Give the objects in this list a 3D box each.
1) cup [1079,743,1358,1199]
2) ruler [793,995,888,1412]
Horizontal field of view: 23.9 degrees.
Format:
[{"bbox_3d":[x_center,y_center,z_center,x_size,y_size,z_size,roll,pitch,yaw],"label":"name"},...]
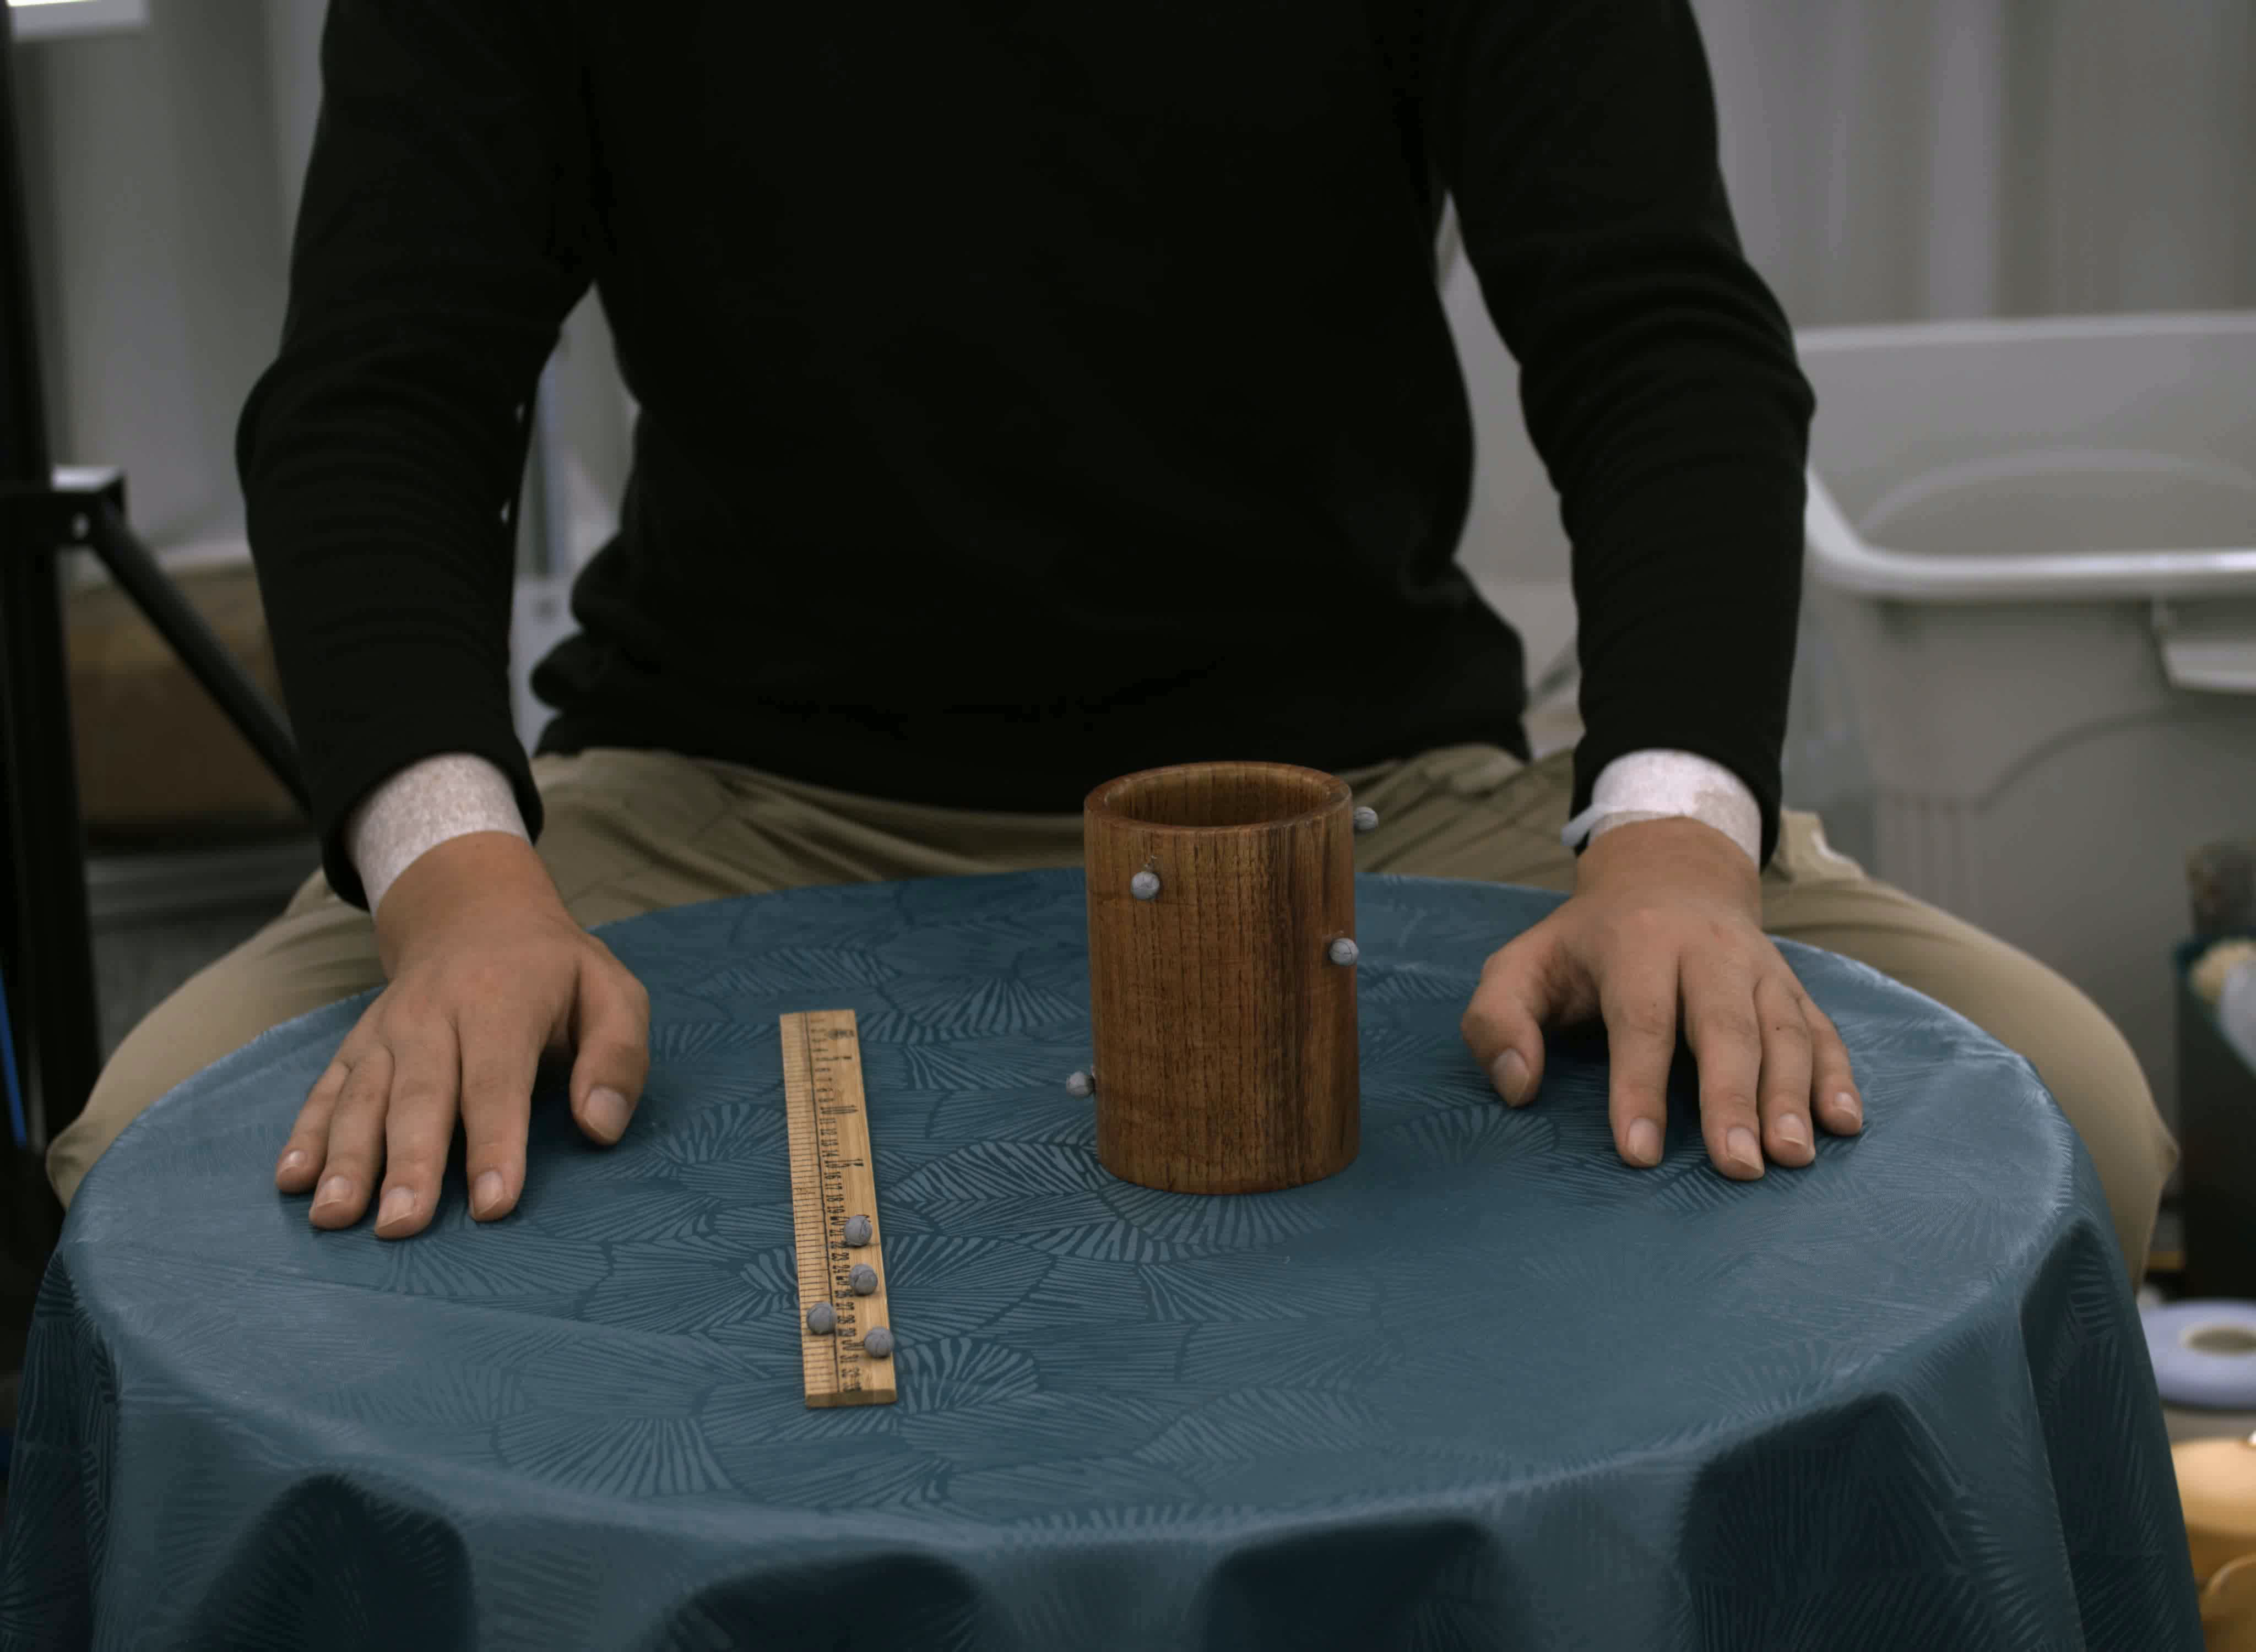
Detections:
[{"bbox_3d":[0.027,0.042,1.572,0.087,0.118,0.088,-1,15,-1],"label":"cup"},{"bbox_3d":[-0.085,0.104,1.567,0.027,0.022,0.334,1,16,-4],"label":"ruler"}]
